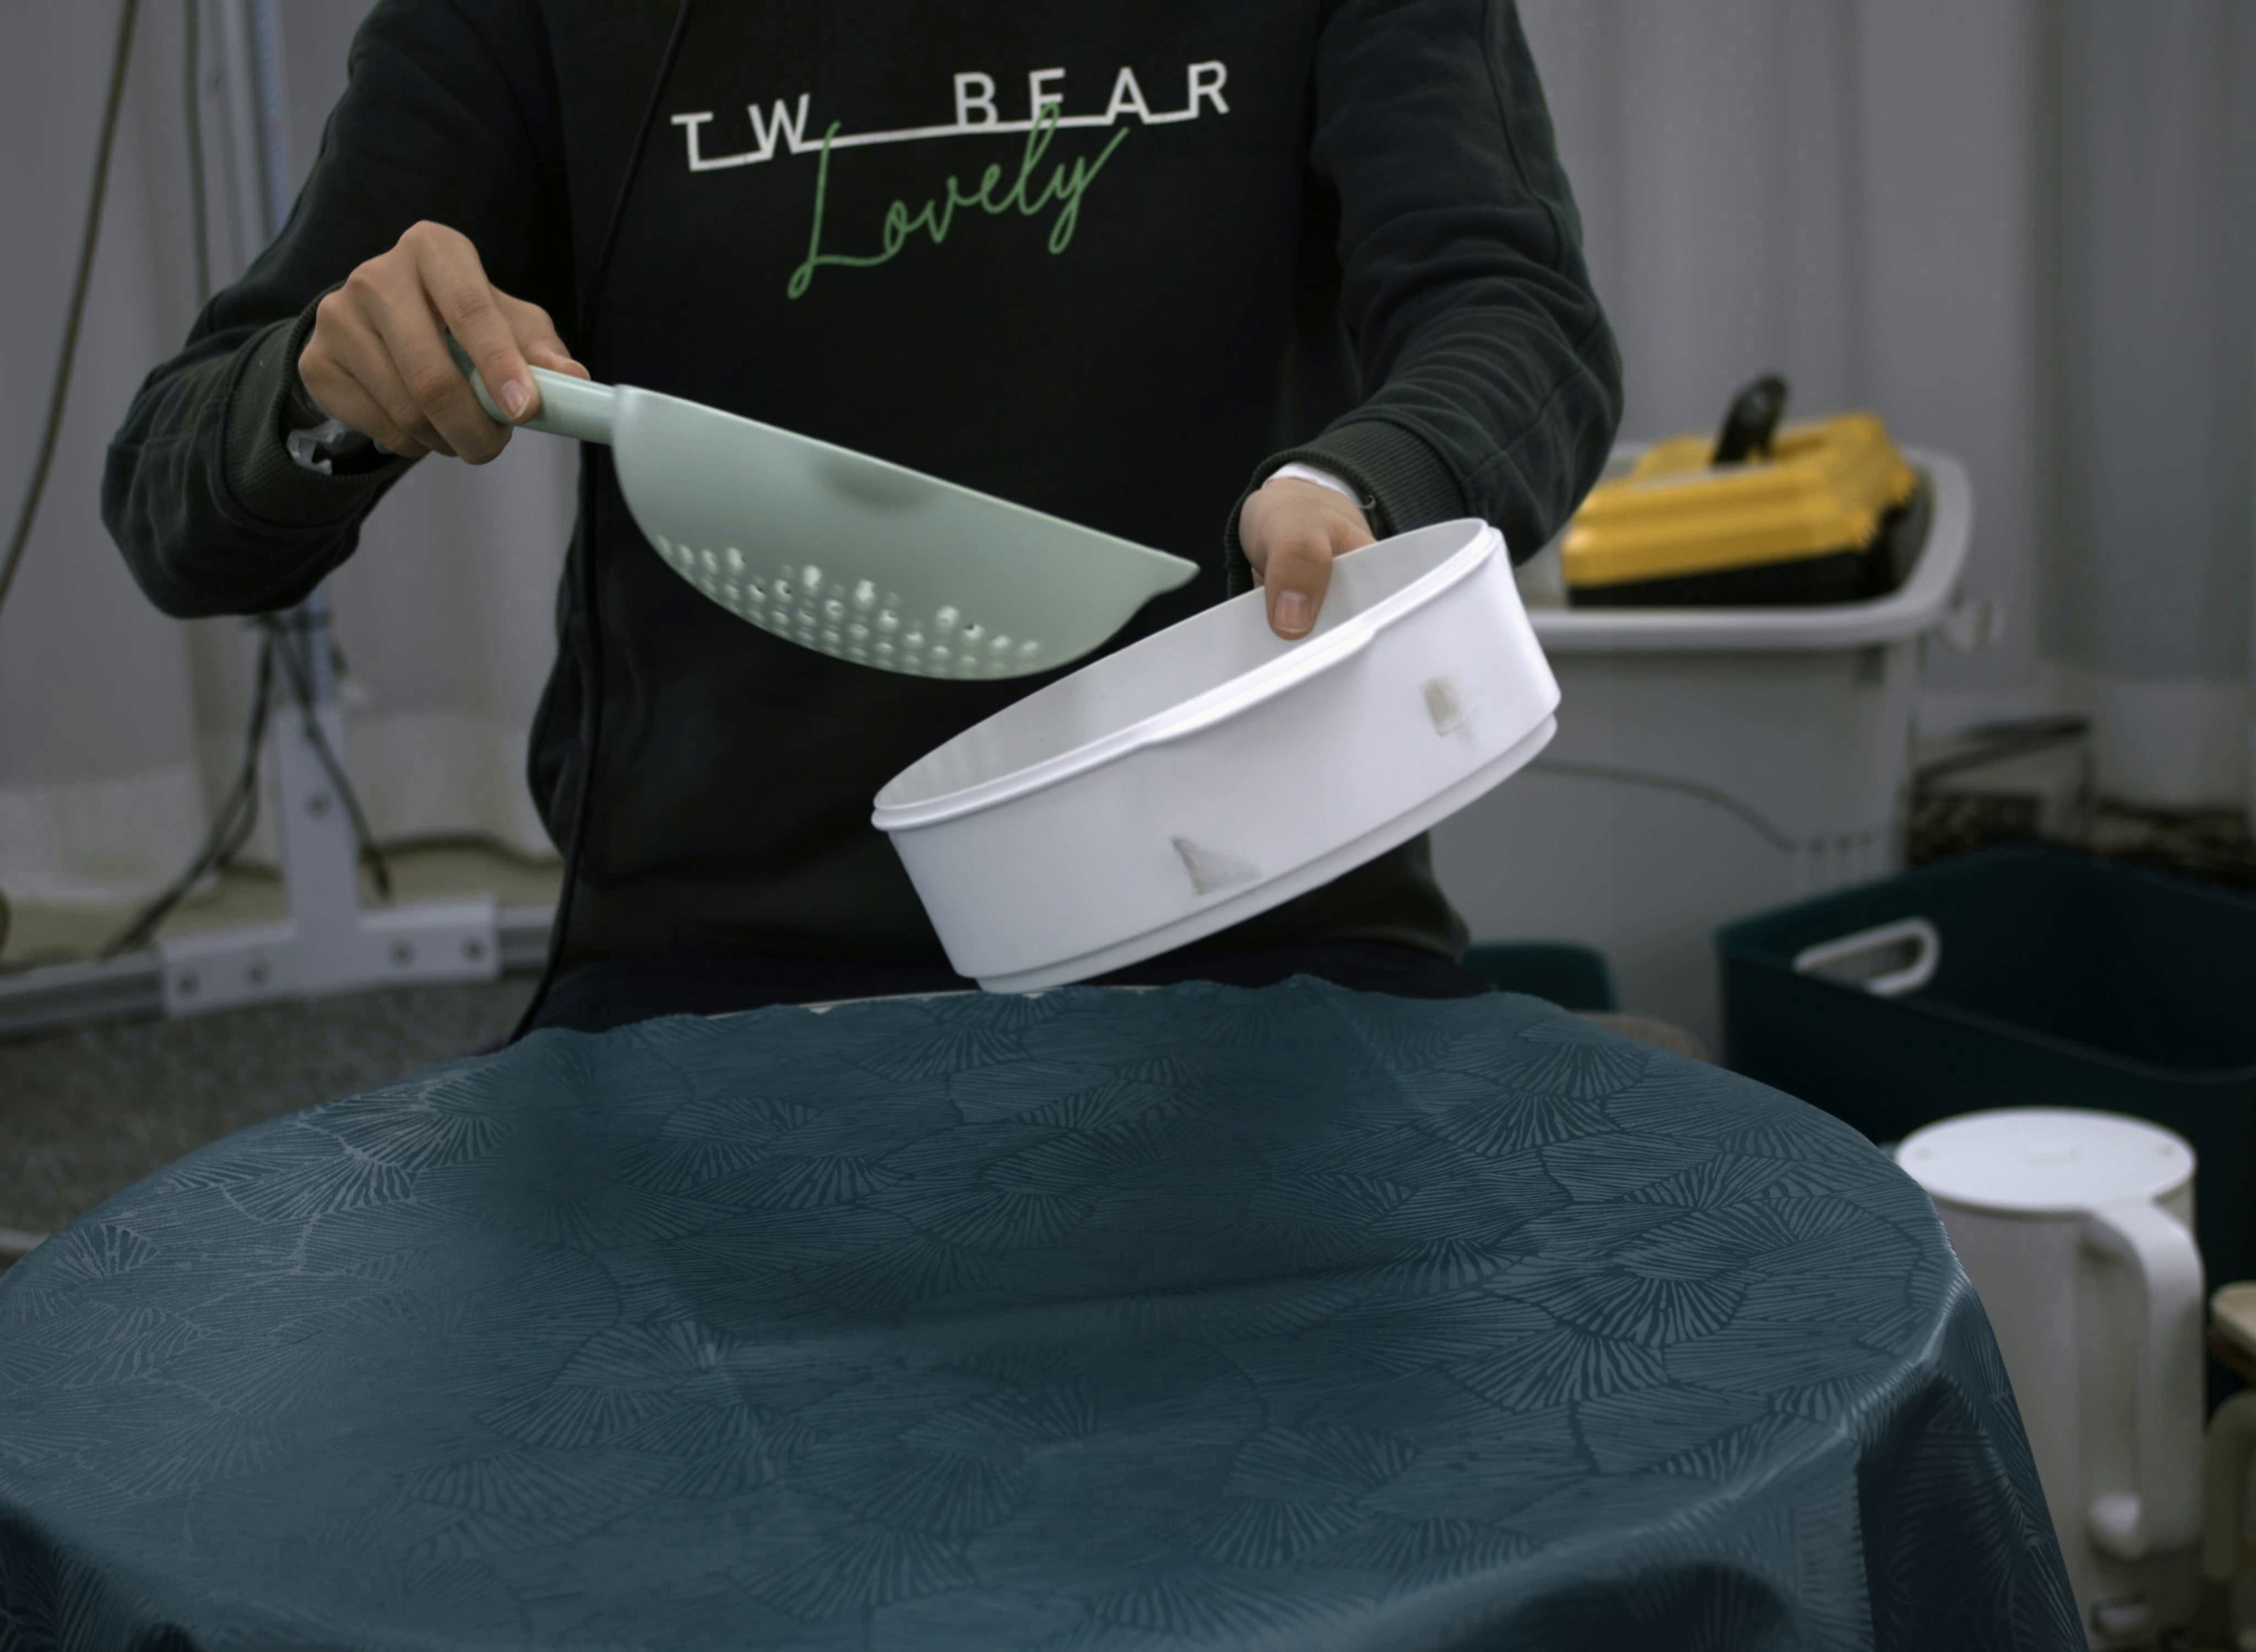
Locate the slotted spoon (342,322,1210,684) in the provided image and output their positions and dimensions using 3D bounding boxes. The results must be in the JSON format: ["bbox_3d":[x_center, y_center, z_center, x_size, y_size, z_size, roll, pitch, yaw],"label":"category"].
[{"bbox_3d":[-0.133,-0.114,1.671,0.167,0.075,0.362,18,9,-44],"label":"slotted spoon"}]

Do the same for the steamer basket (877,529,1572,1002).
[{"bbox_3d":[0.031,-0.016,1.580,0.201,0.069,0.231,-25,7,-11],"label":"steamer basket"}]
